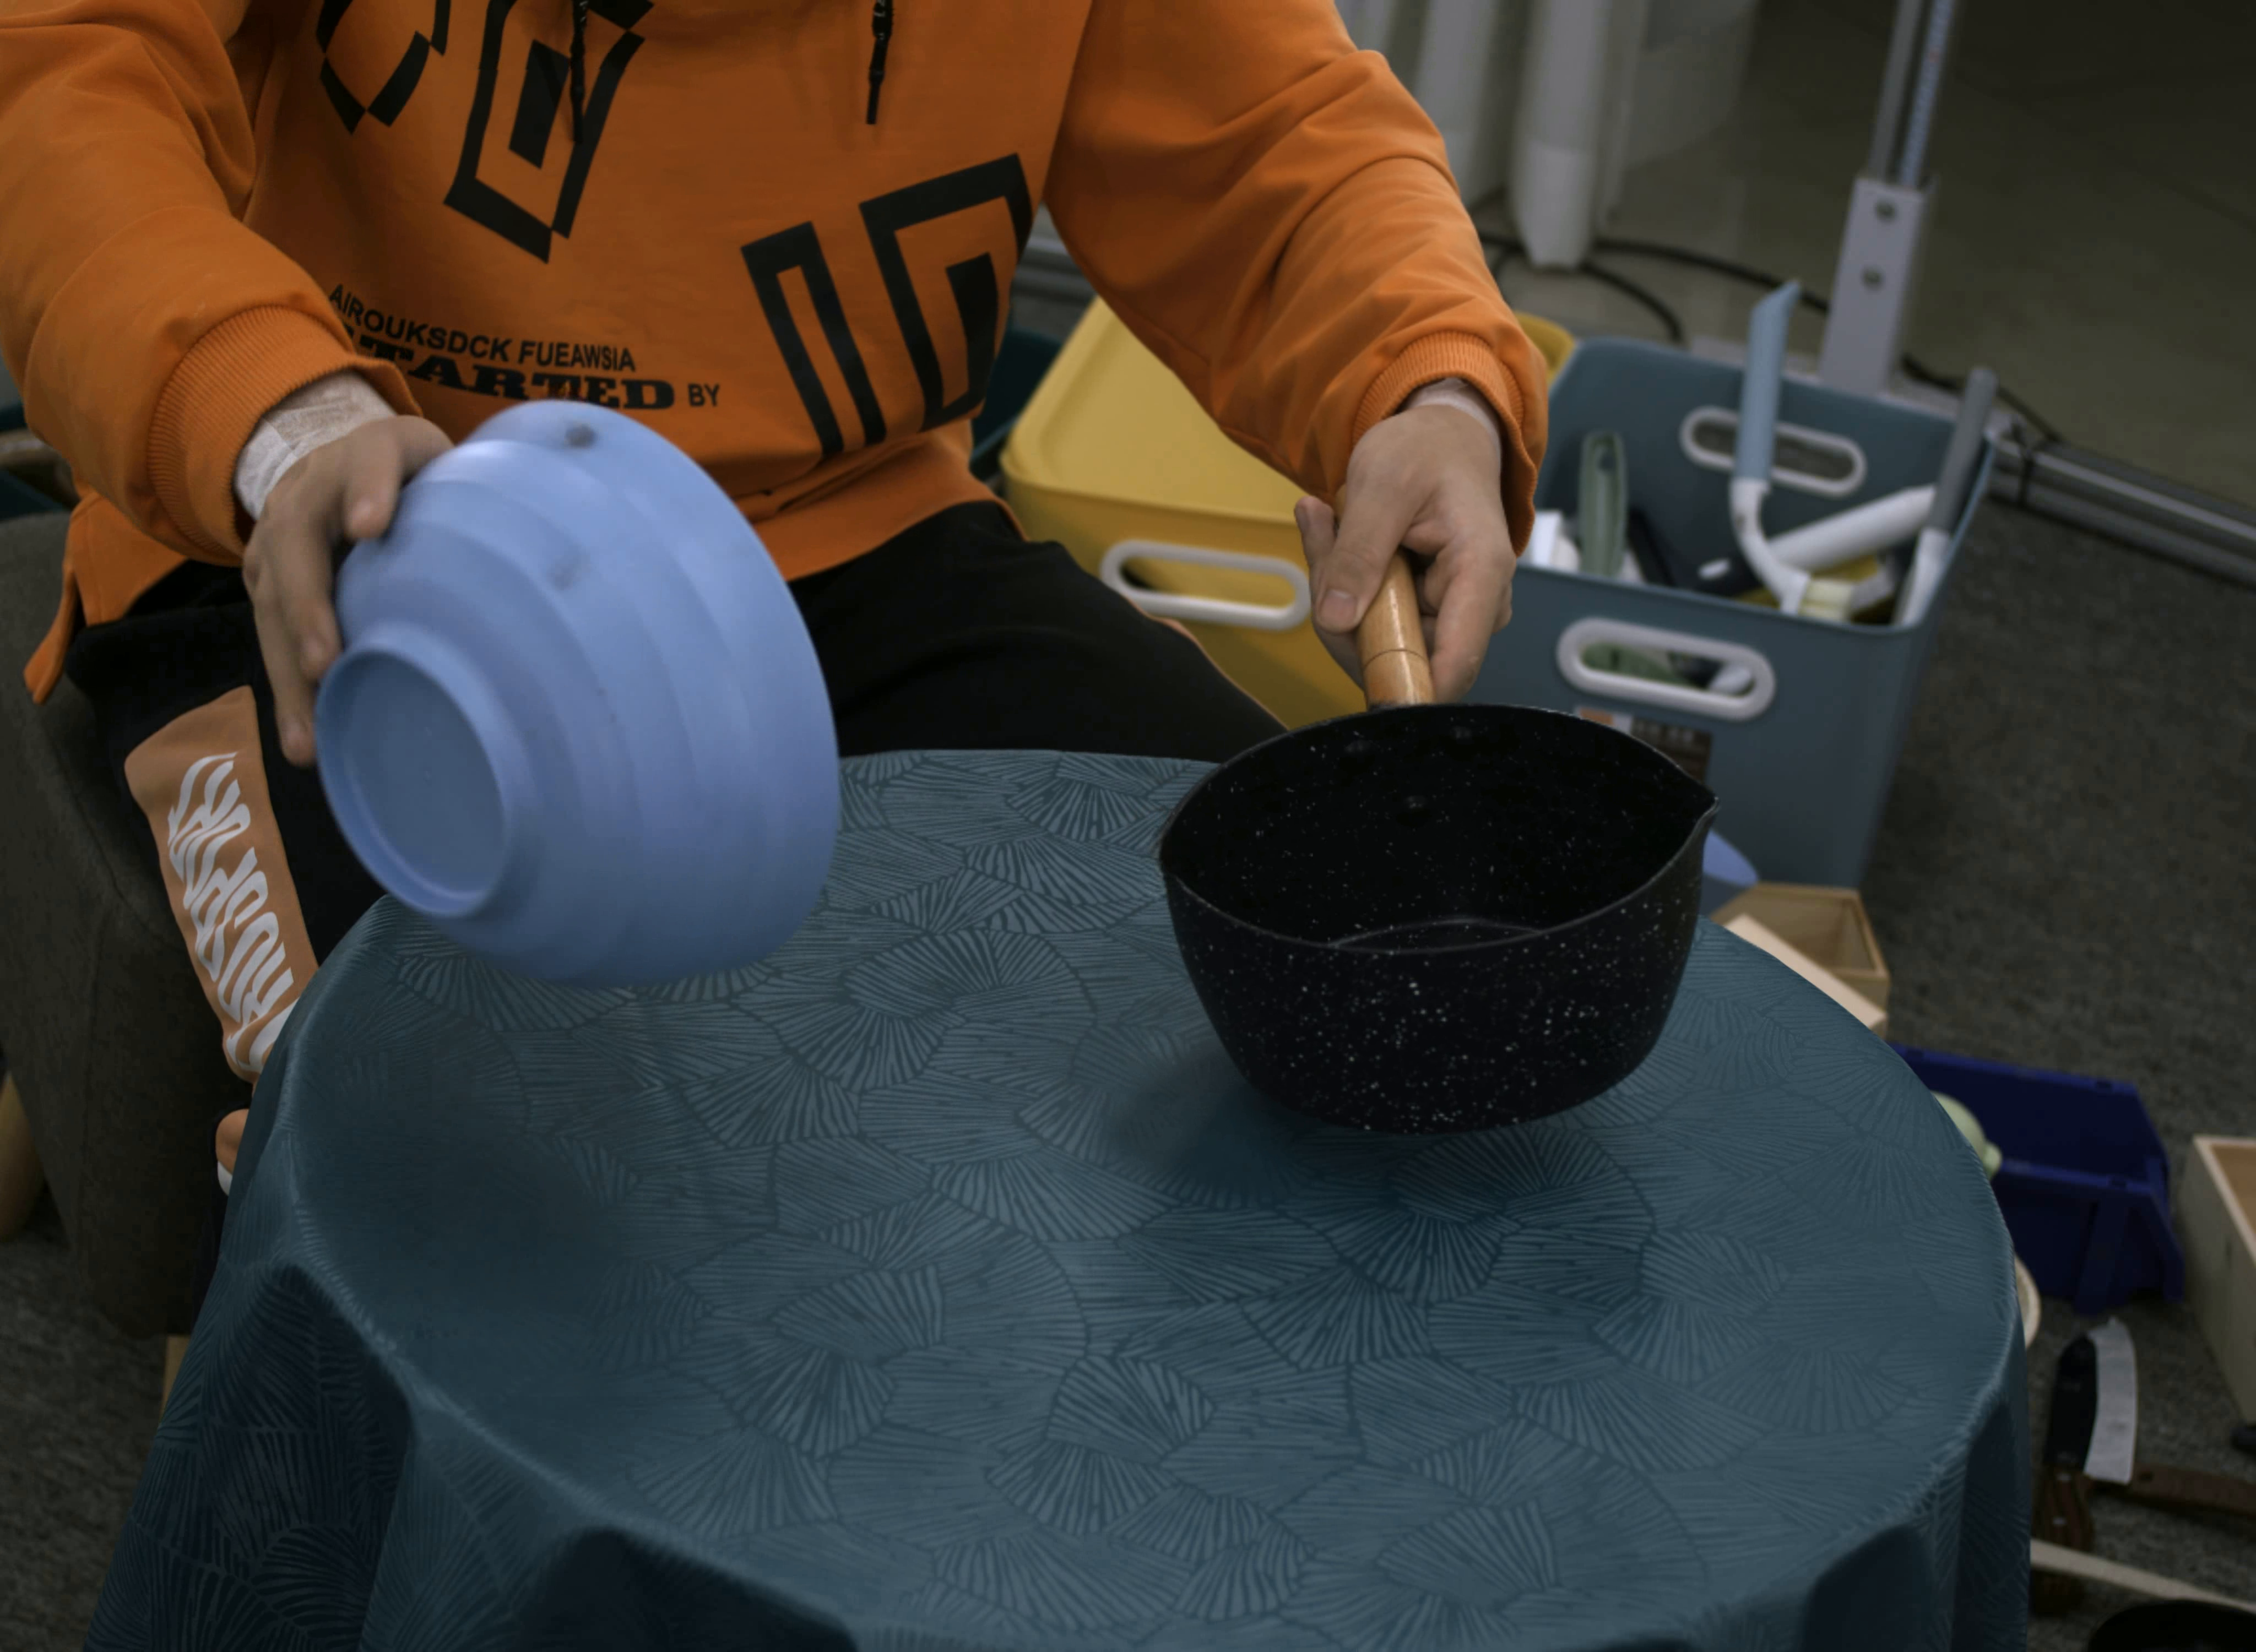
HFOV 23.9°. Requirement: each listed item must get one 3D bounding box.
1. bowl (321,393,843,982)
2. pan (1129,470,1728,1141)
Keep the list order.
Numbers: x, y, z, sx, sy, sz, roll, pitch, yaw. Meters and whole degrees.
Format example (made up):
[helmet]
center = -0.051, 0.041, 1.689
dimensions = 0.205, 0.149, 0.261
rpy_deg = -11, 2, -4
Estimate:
[bowl]
center = -0.192, -0.030, 1.693
dimensions = 0.198, 0.195, 0.095
rpy_deg = 28, 42, 35
[pan]
center = 0.102, -0.011, 1.915
dimensions = 0.207, 0.108, 0.345
rpy_deg = -8, 28, 0
